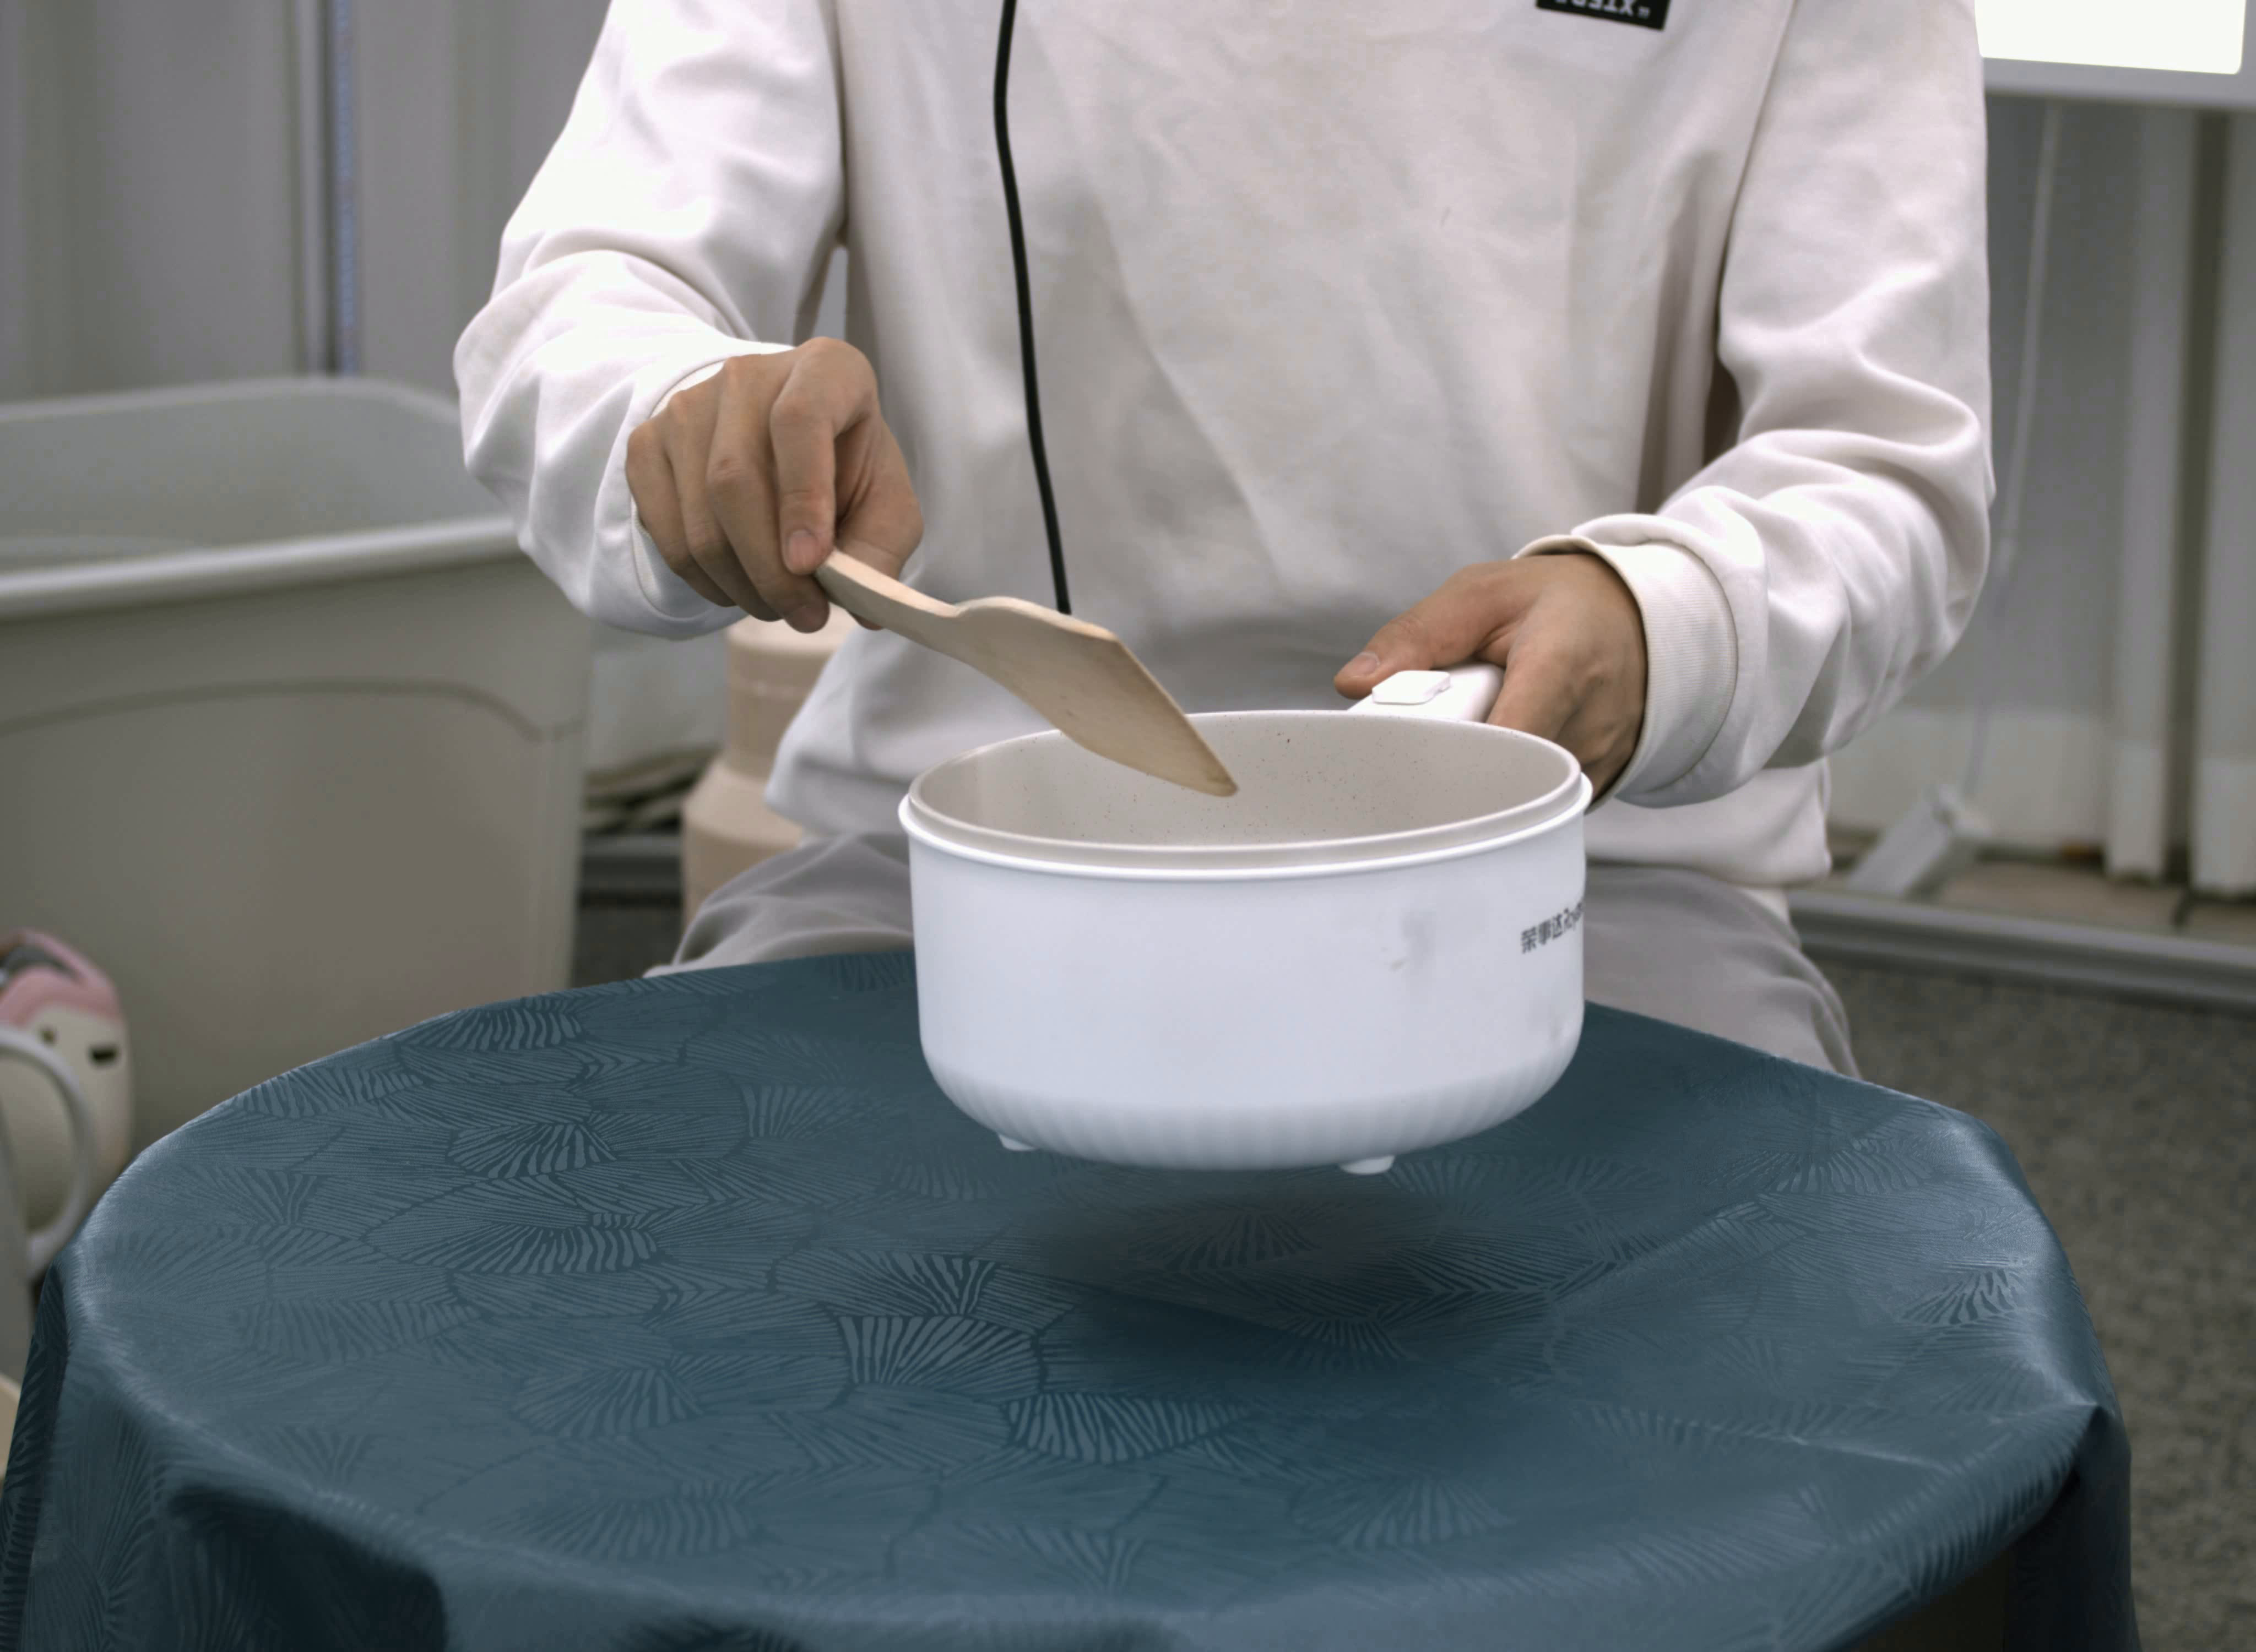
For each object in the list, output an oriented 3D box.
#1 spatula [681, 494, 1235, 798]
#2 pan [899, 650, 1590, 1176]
[{"bbox_3d":[-0.064,-0.064,1.586,0.010,0.073,0.289,-48,34,-11],"label":"spatula"},{"bbox_3d":[0.062,0.022,1.604,0.199,0.103,0.355,1,11,20],"label":"pan"}]
